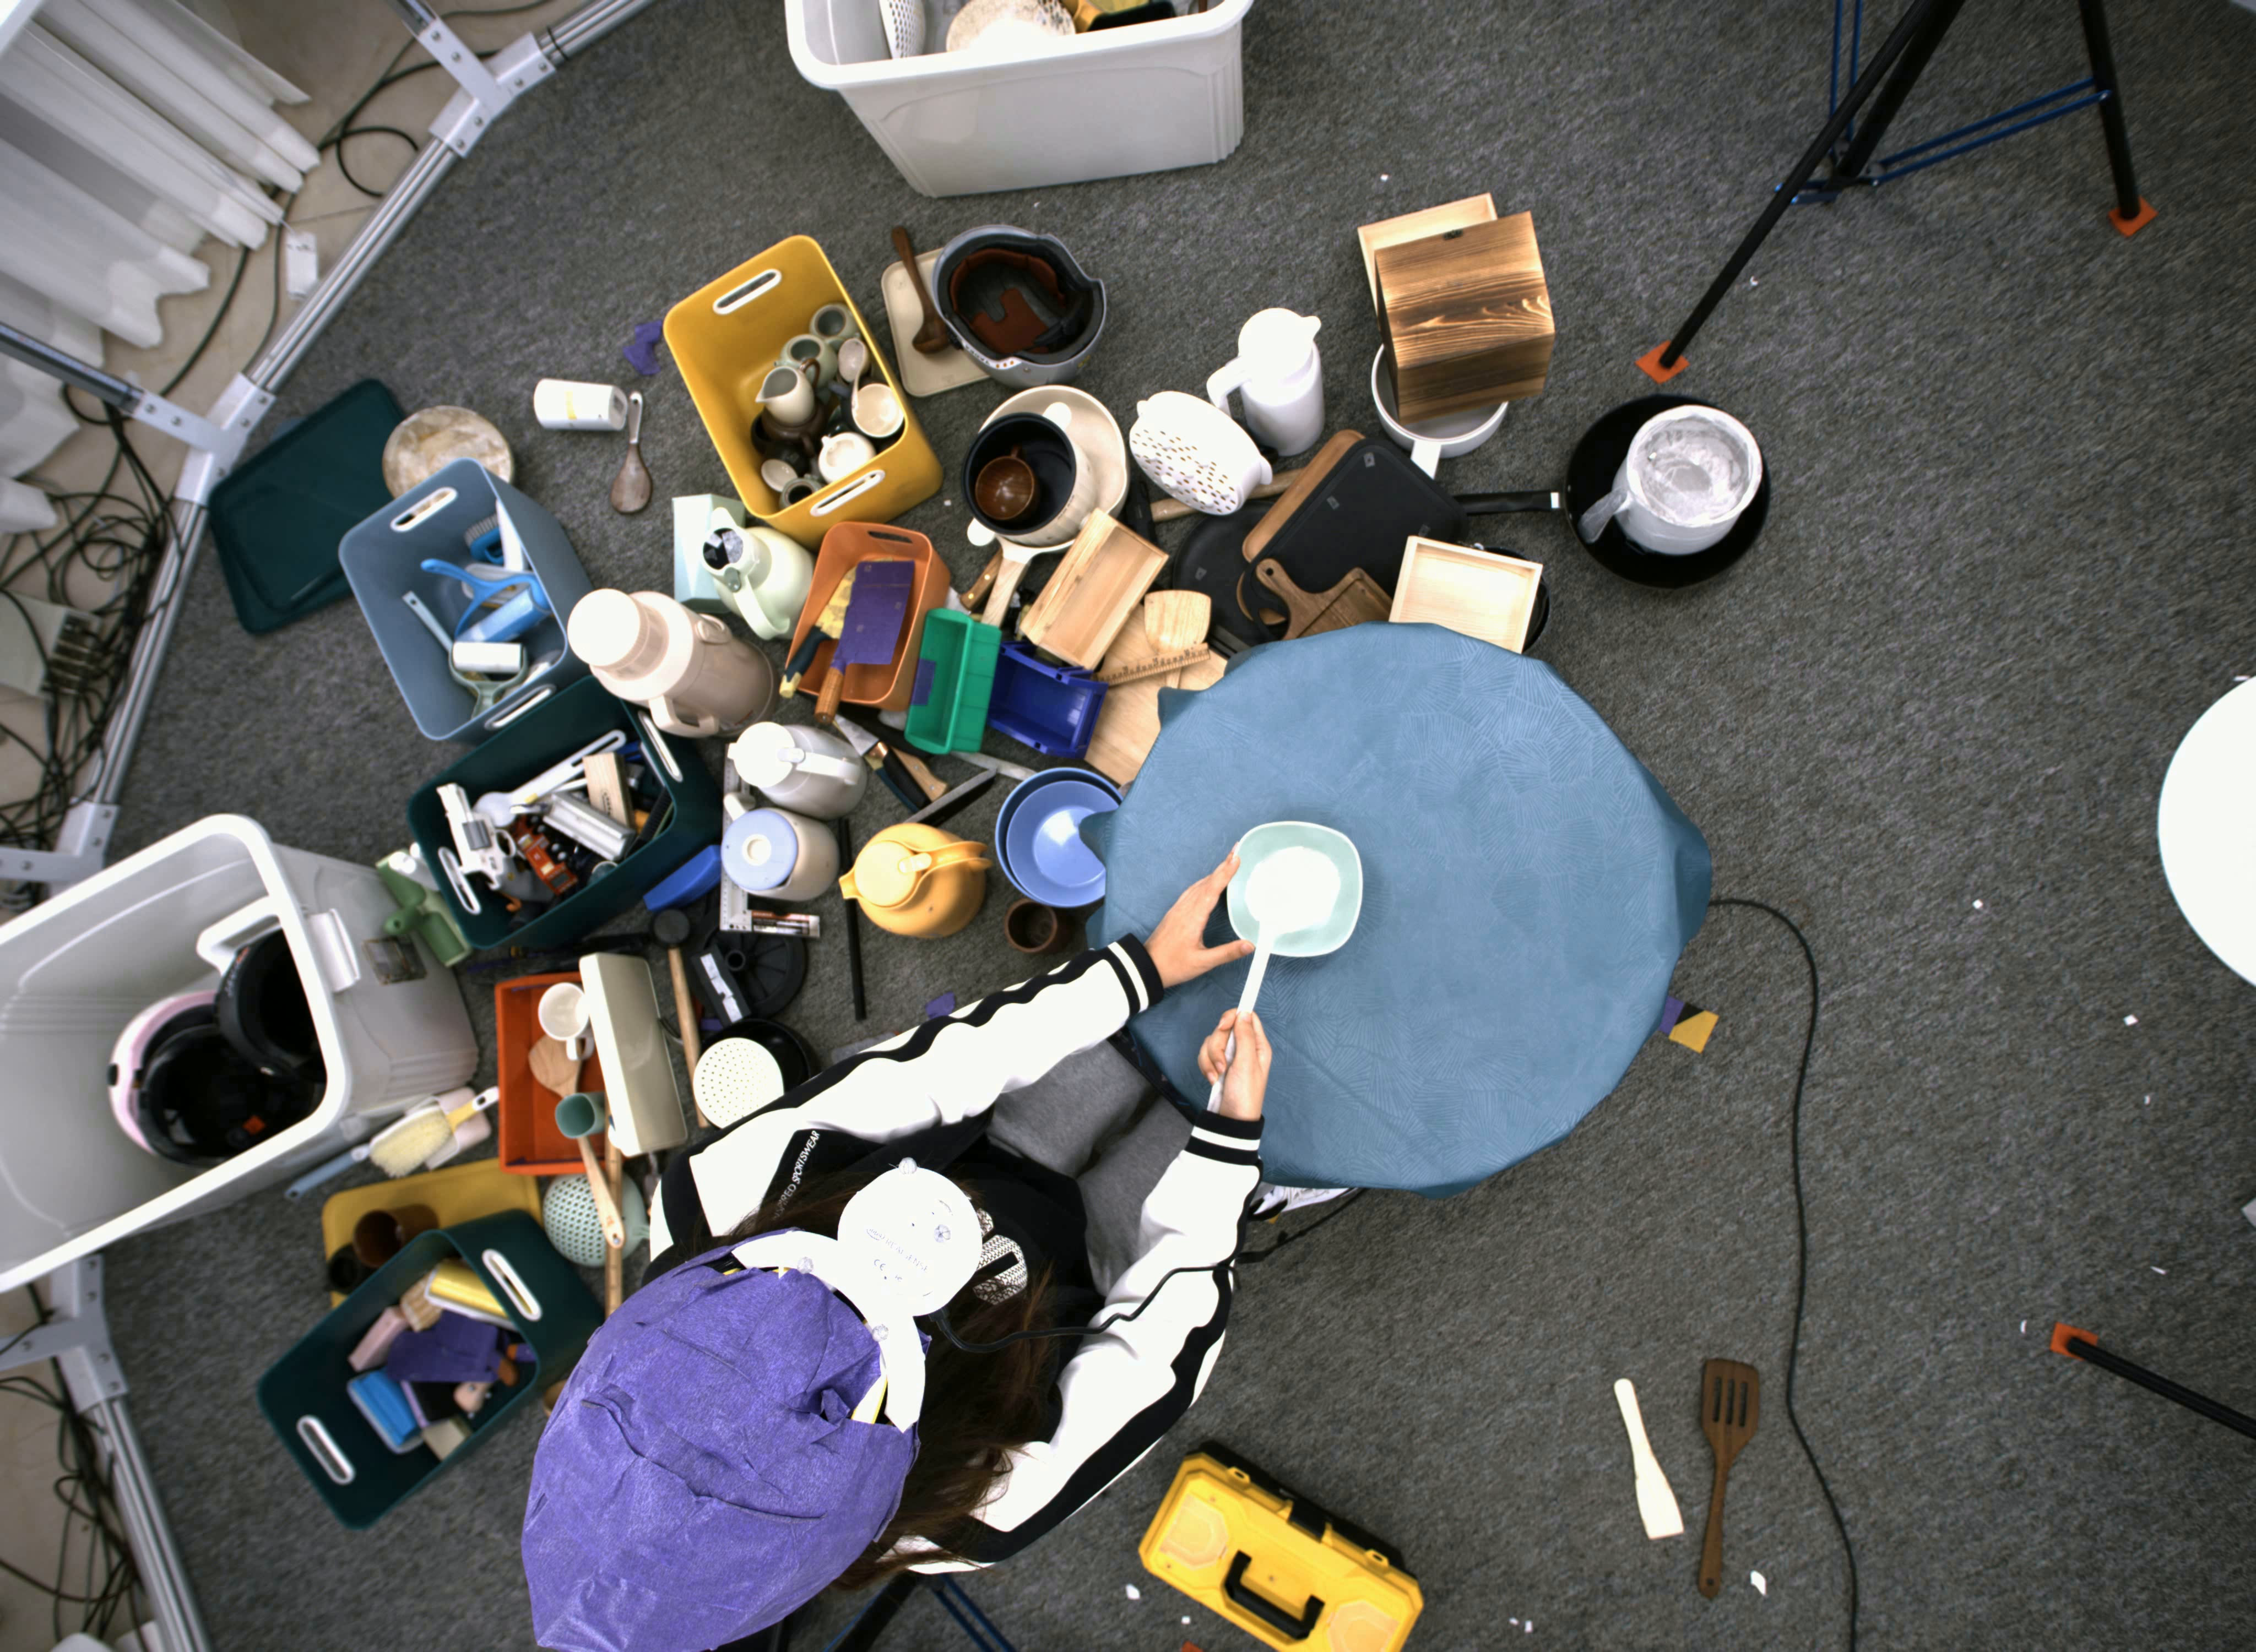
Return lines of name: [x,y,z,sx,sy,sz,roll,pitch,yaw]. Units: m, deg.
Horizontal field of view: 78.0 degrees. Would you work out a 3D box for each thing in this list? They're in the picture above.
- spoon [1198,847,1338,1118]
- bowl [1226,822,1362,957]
spoon: [0.124,0.152,1.351,0.101,0.060,0.274,23,79,-13]
bowl: [0.175,0.068,1.451,0.152,0.058,0.151,-1,86,11]
